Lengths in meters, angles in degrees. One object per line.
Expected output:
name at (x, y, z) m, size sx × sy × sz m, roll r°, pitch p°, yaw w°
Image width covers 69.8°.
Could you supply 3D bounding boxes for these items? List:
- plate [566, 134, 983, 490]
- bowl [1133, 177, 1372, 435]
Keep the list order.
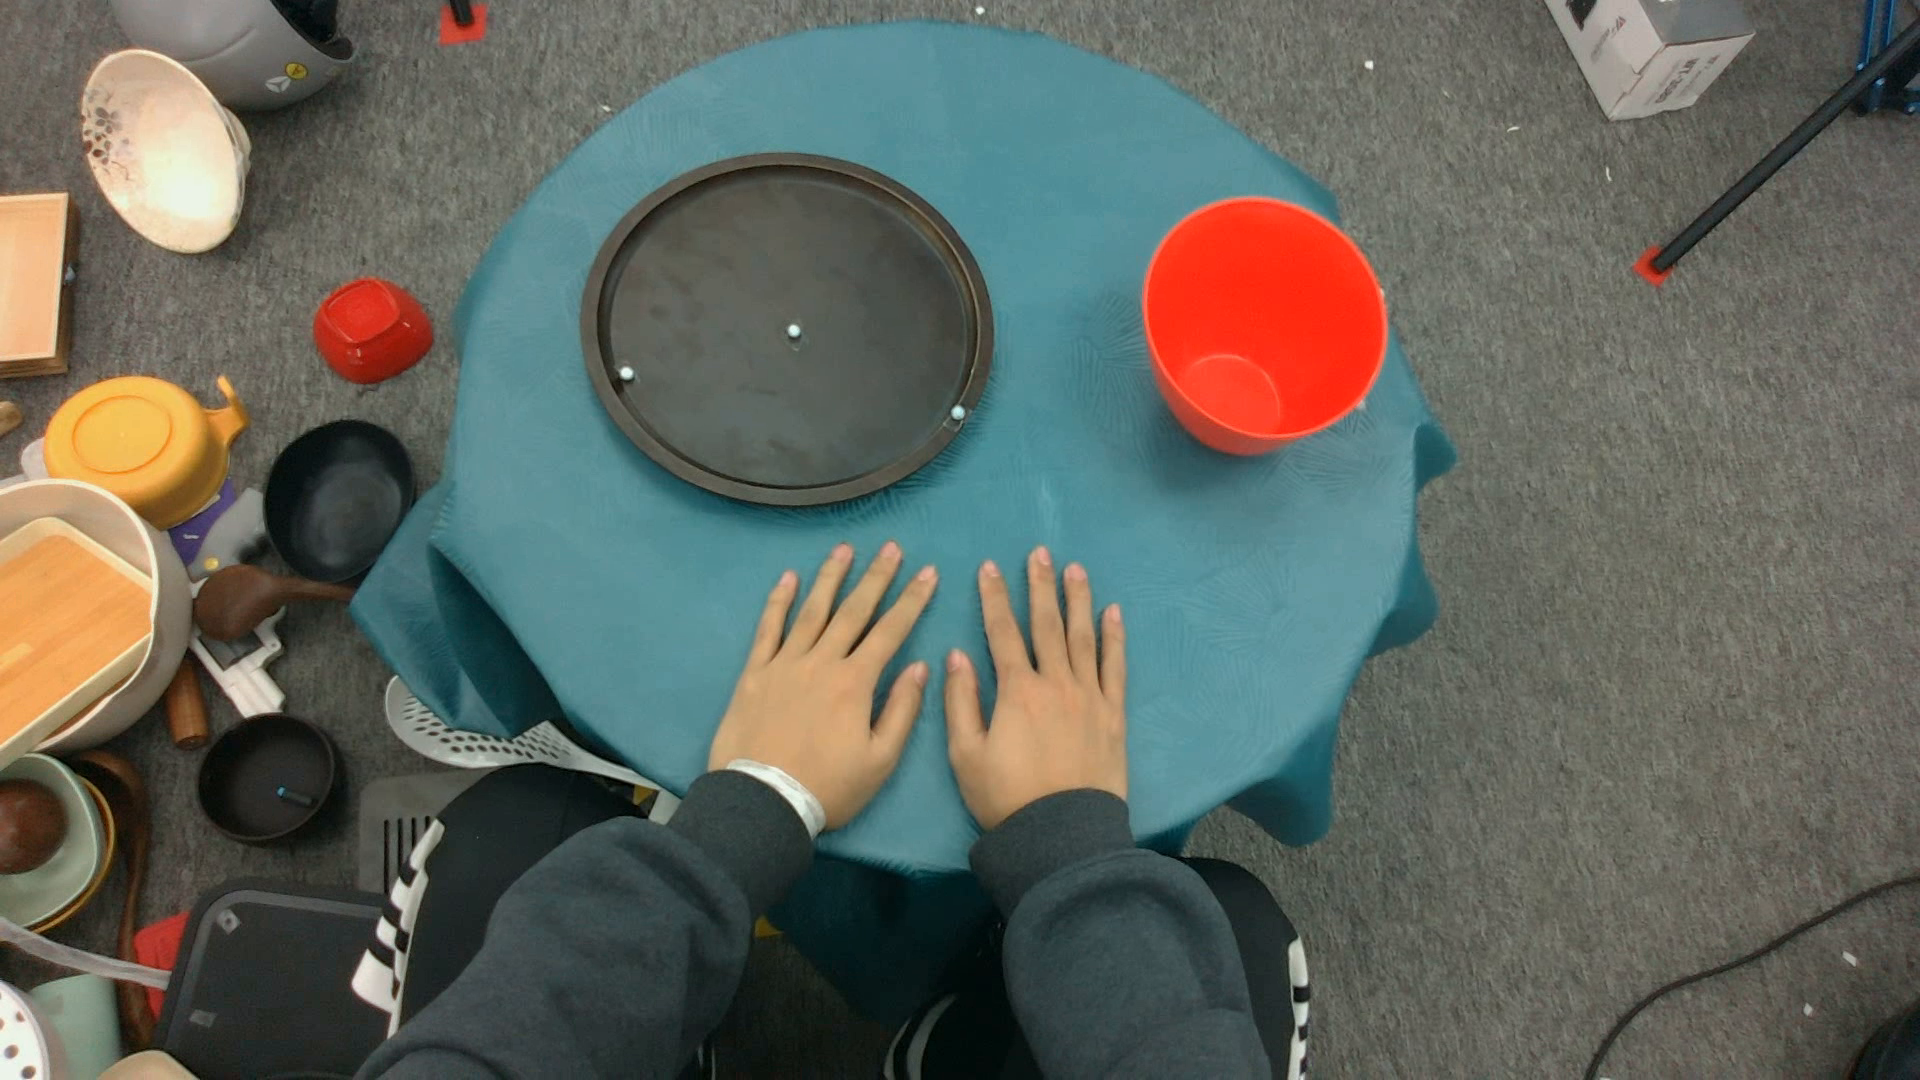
plate at (-0.112, -0.144, 0.852) m, size 0.255 × 0.029 × 0.255 m, roll 3°, pitch 67°, yaw -8°
bowl at (0.166, -0.129, 0.840) m, size 0.148 × 0.104 × 0.148 m, roll 4°, pitch 66°, yaw -8°
